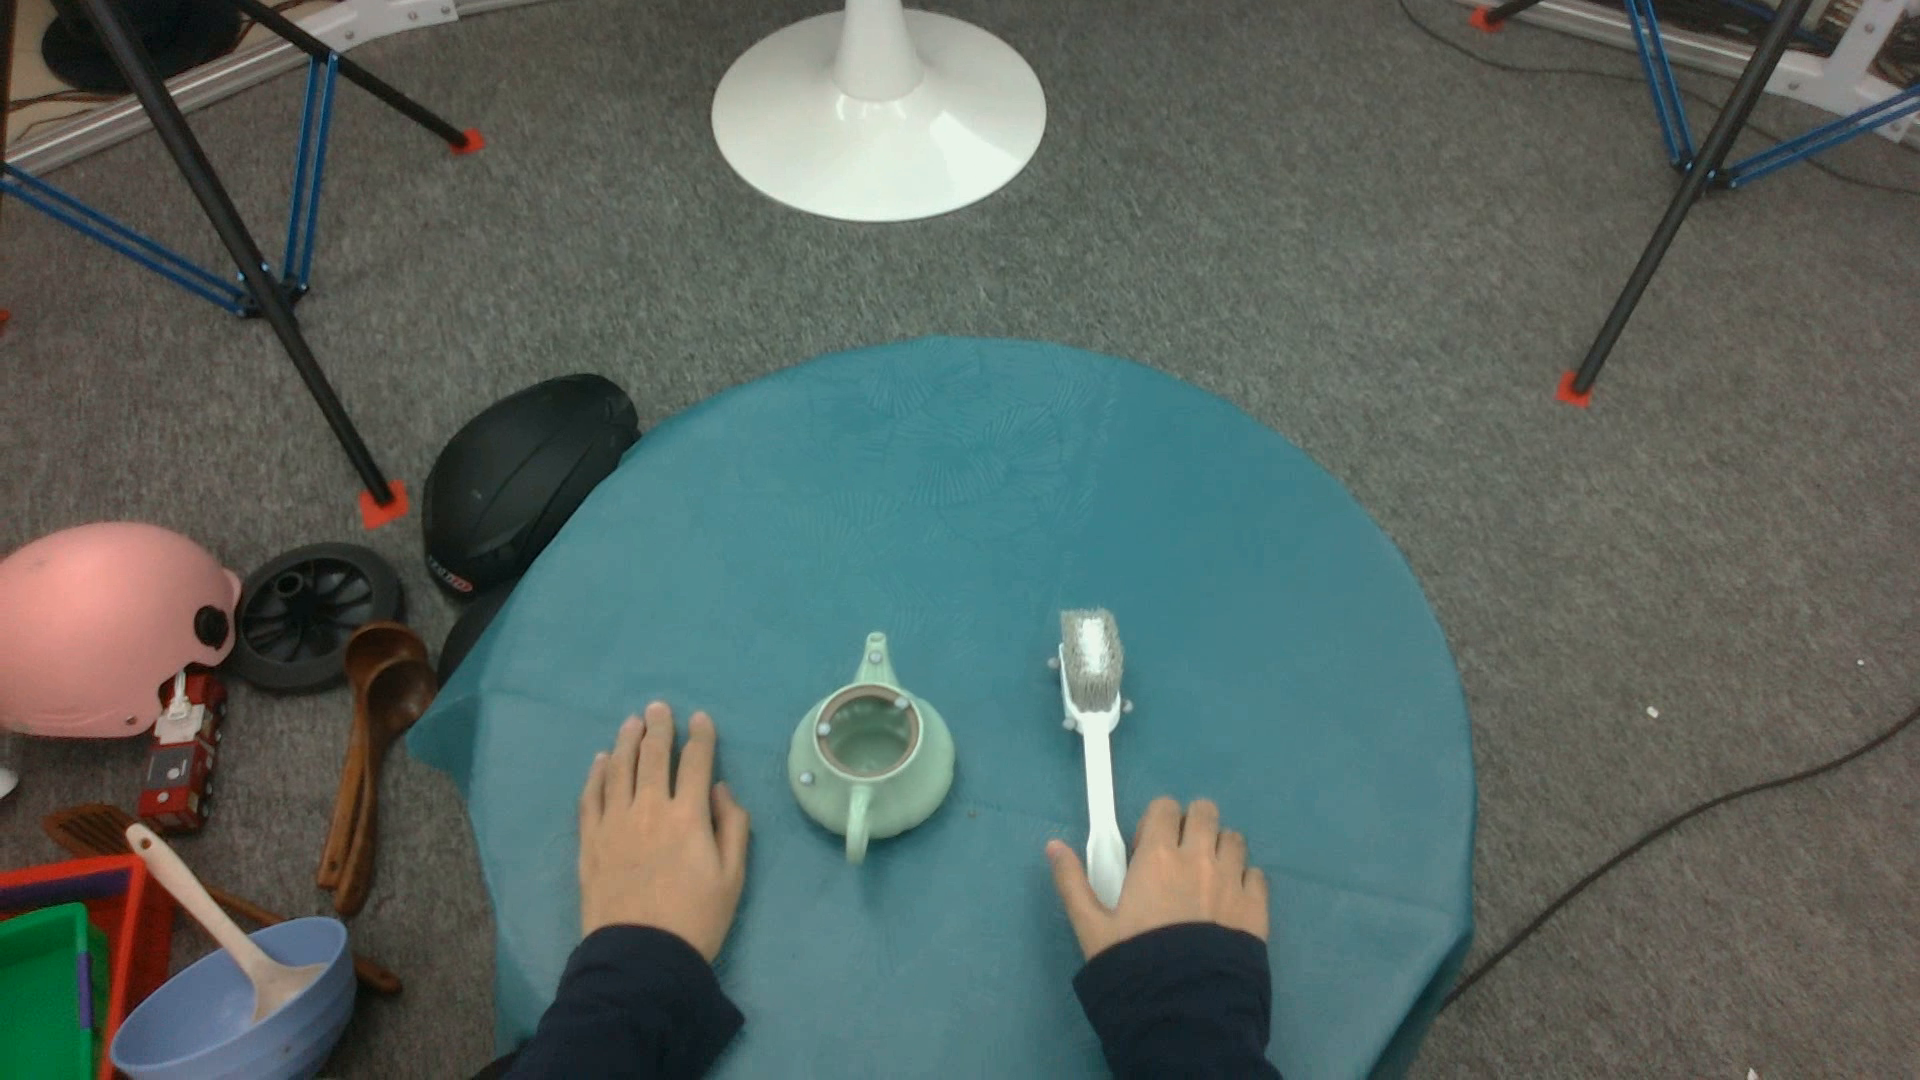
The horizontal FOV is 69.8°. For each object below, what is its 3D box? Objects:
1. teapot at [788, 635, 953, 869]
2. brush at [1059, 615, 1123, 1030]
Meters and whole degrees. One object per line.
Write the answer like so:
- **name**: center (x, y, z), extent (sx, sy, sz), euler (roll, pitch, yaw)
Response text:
- **teapot**: center (-0.052, 0.127, 0.794), extent (0.096, 0.061, 0.137), euler (3, 54, -2)
- **brush**: center (0.077, 0.150, 0.787), extent (0.034, 0.050, 0.245), euler (4, 54, -3)
